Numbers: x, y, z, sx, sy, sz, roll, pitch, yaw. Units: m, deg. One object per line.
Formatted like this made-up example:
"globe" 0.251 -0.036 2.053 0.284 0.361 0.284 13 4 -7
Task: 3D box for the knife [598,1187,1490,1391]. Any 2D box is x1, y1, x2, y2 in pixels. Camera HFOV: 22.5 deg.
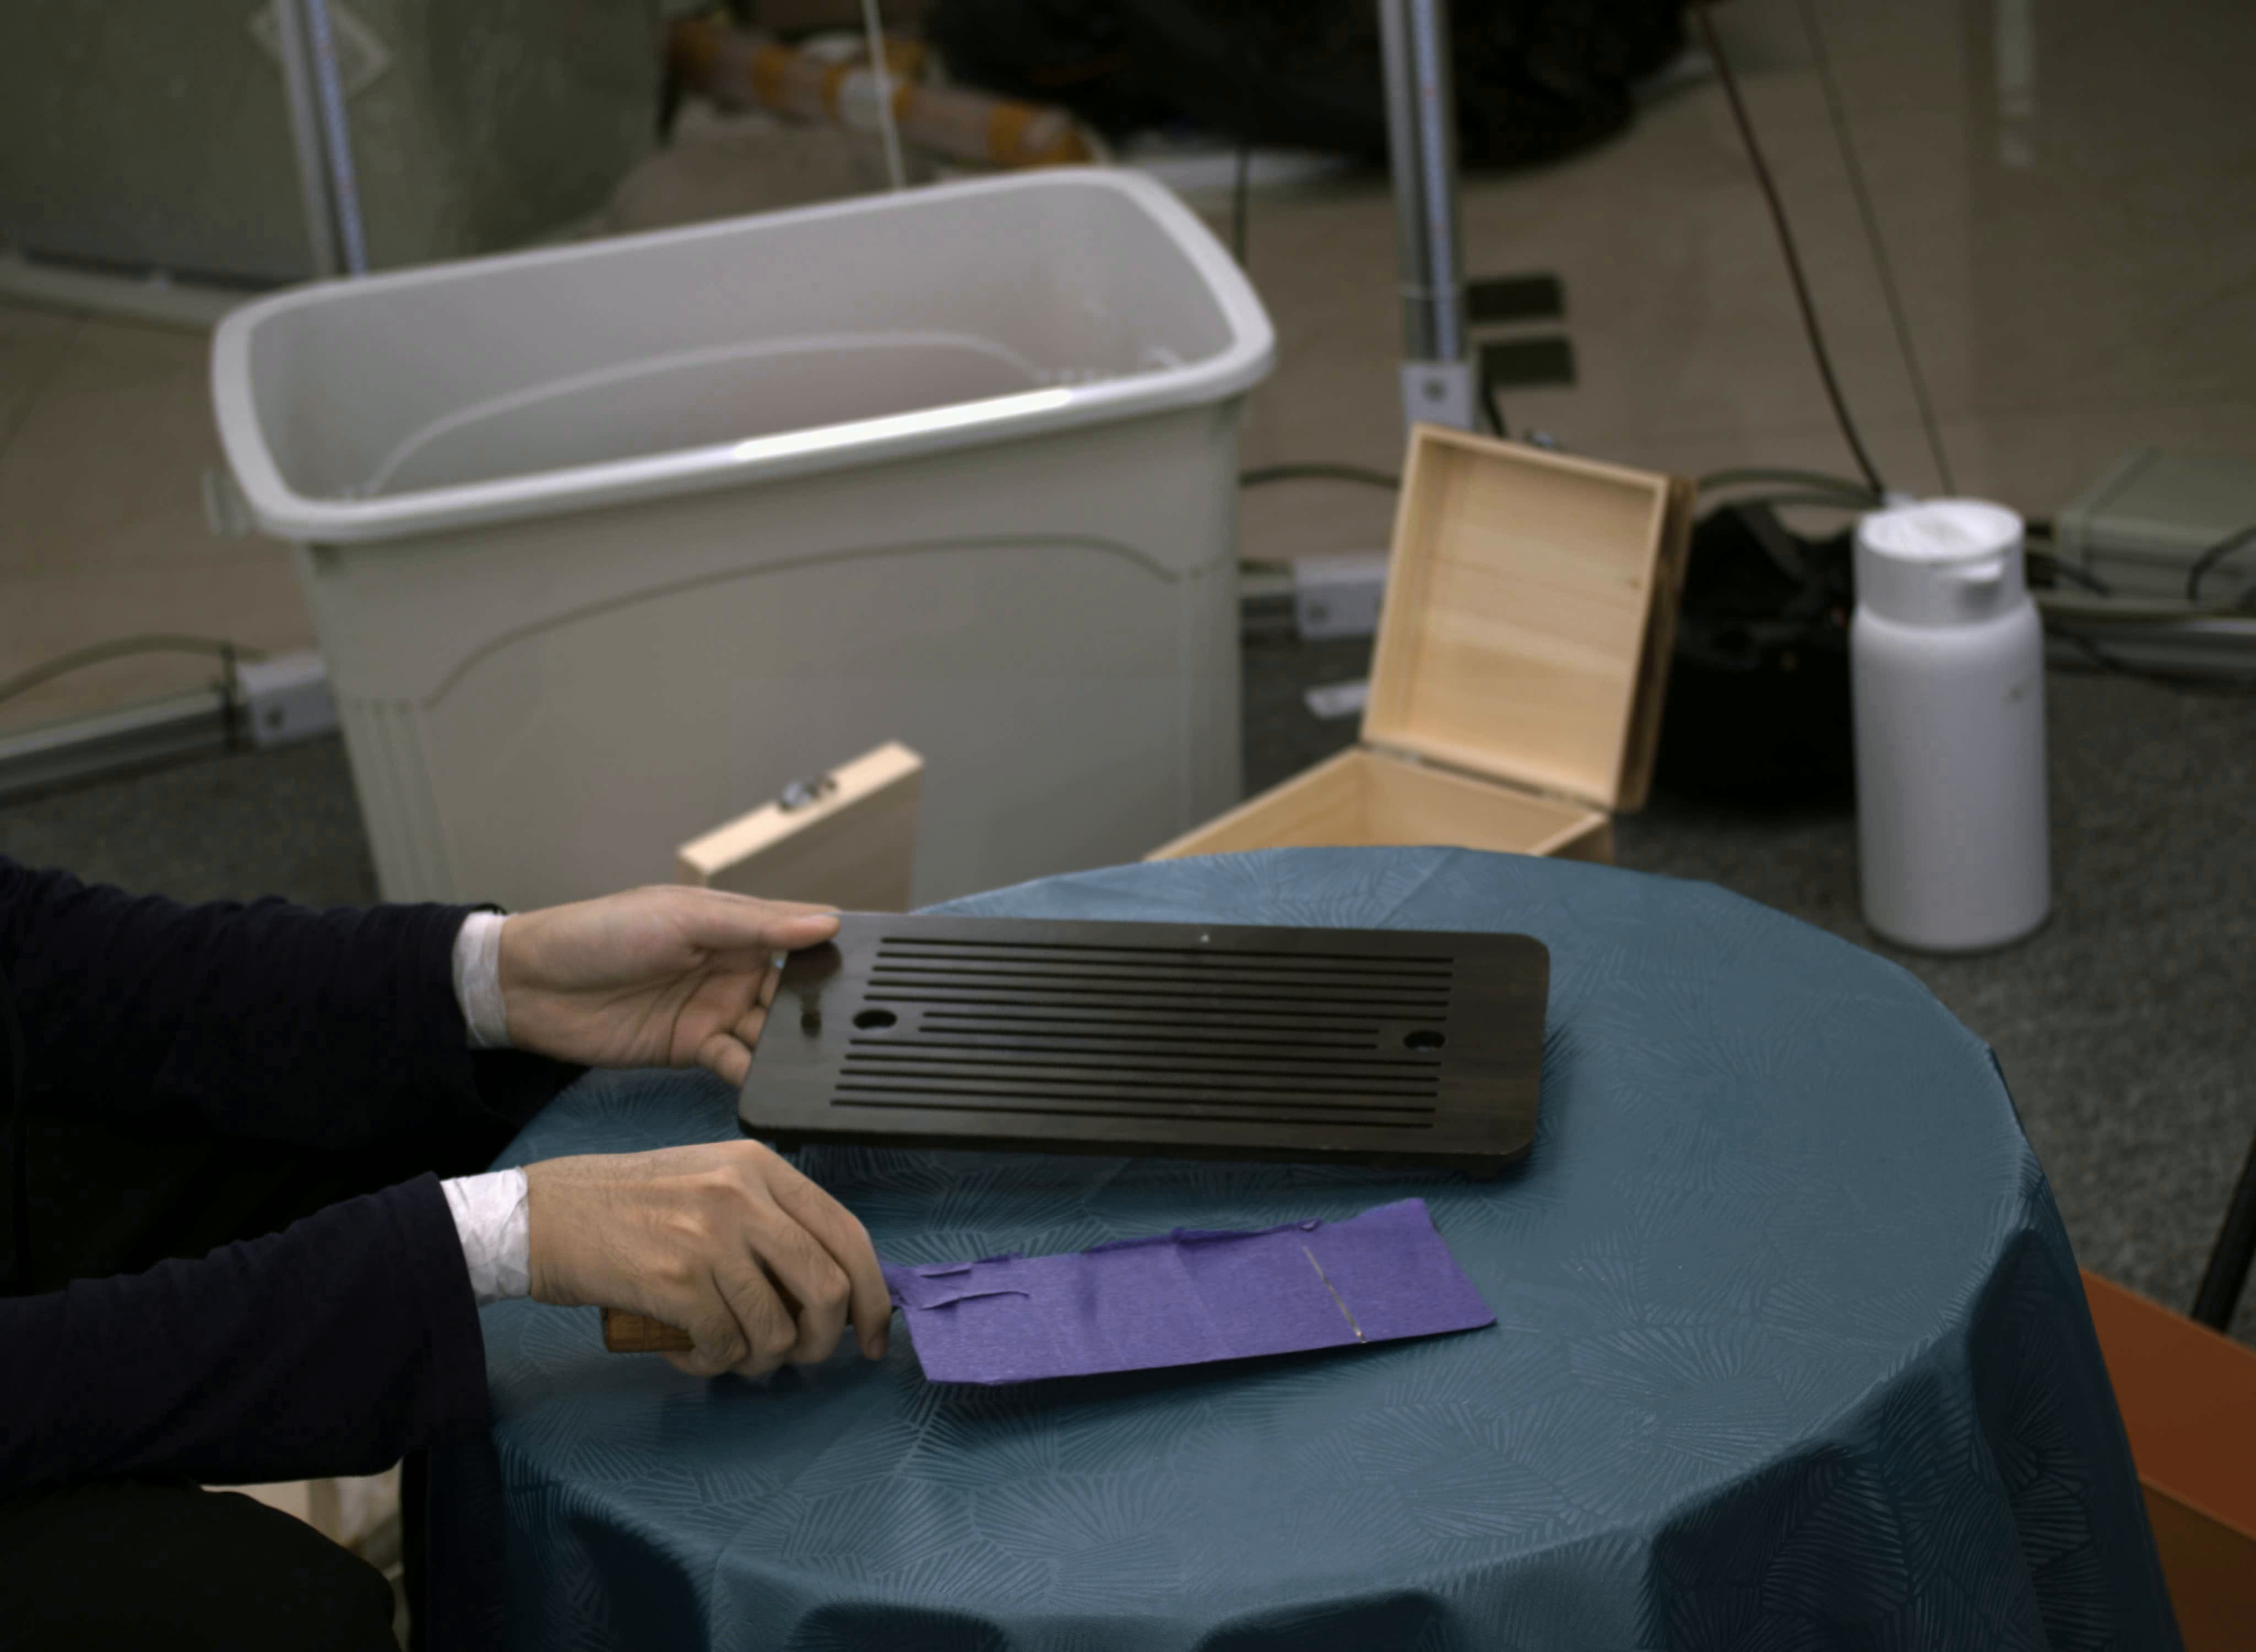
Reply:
"knife" -0.029 0.171 2.039 0.314 0.032 0.102 -8 23 -11

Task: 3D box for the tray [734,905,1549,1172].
"tray" 0.008 0.083 2.210 0.305 0.019 0.167 2 28 6
